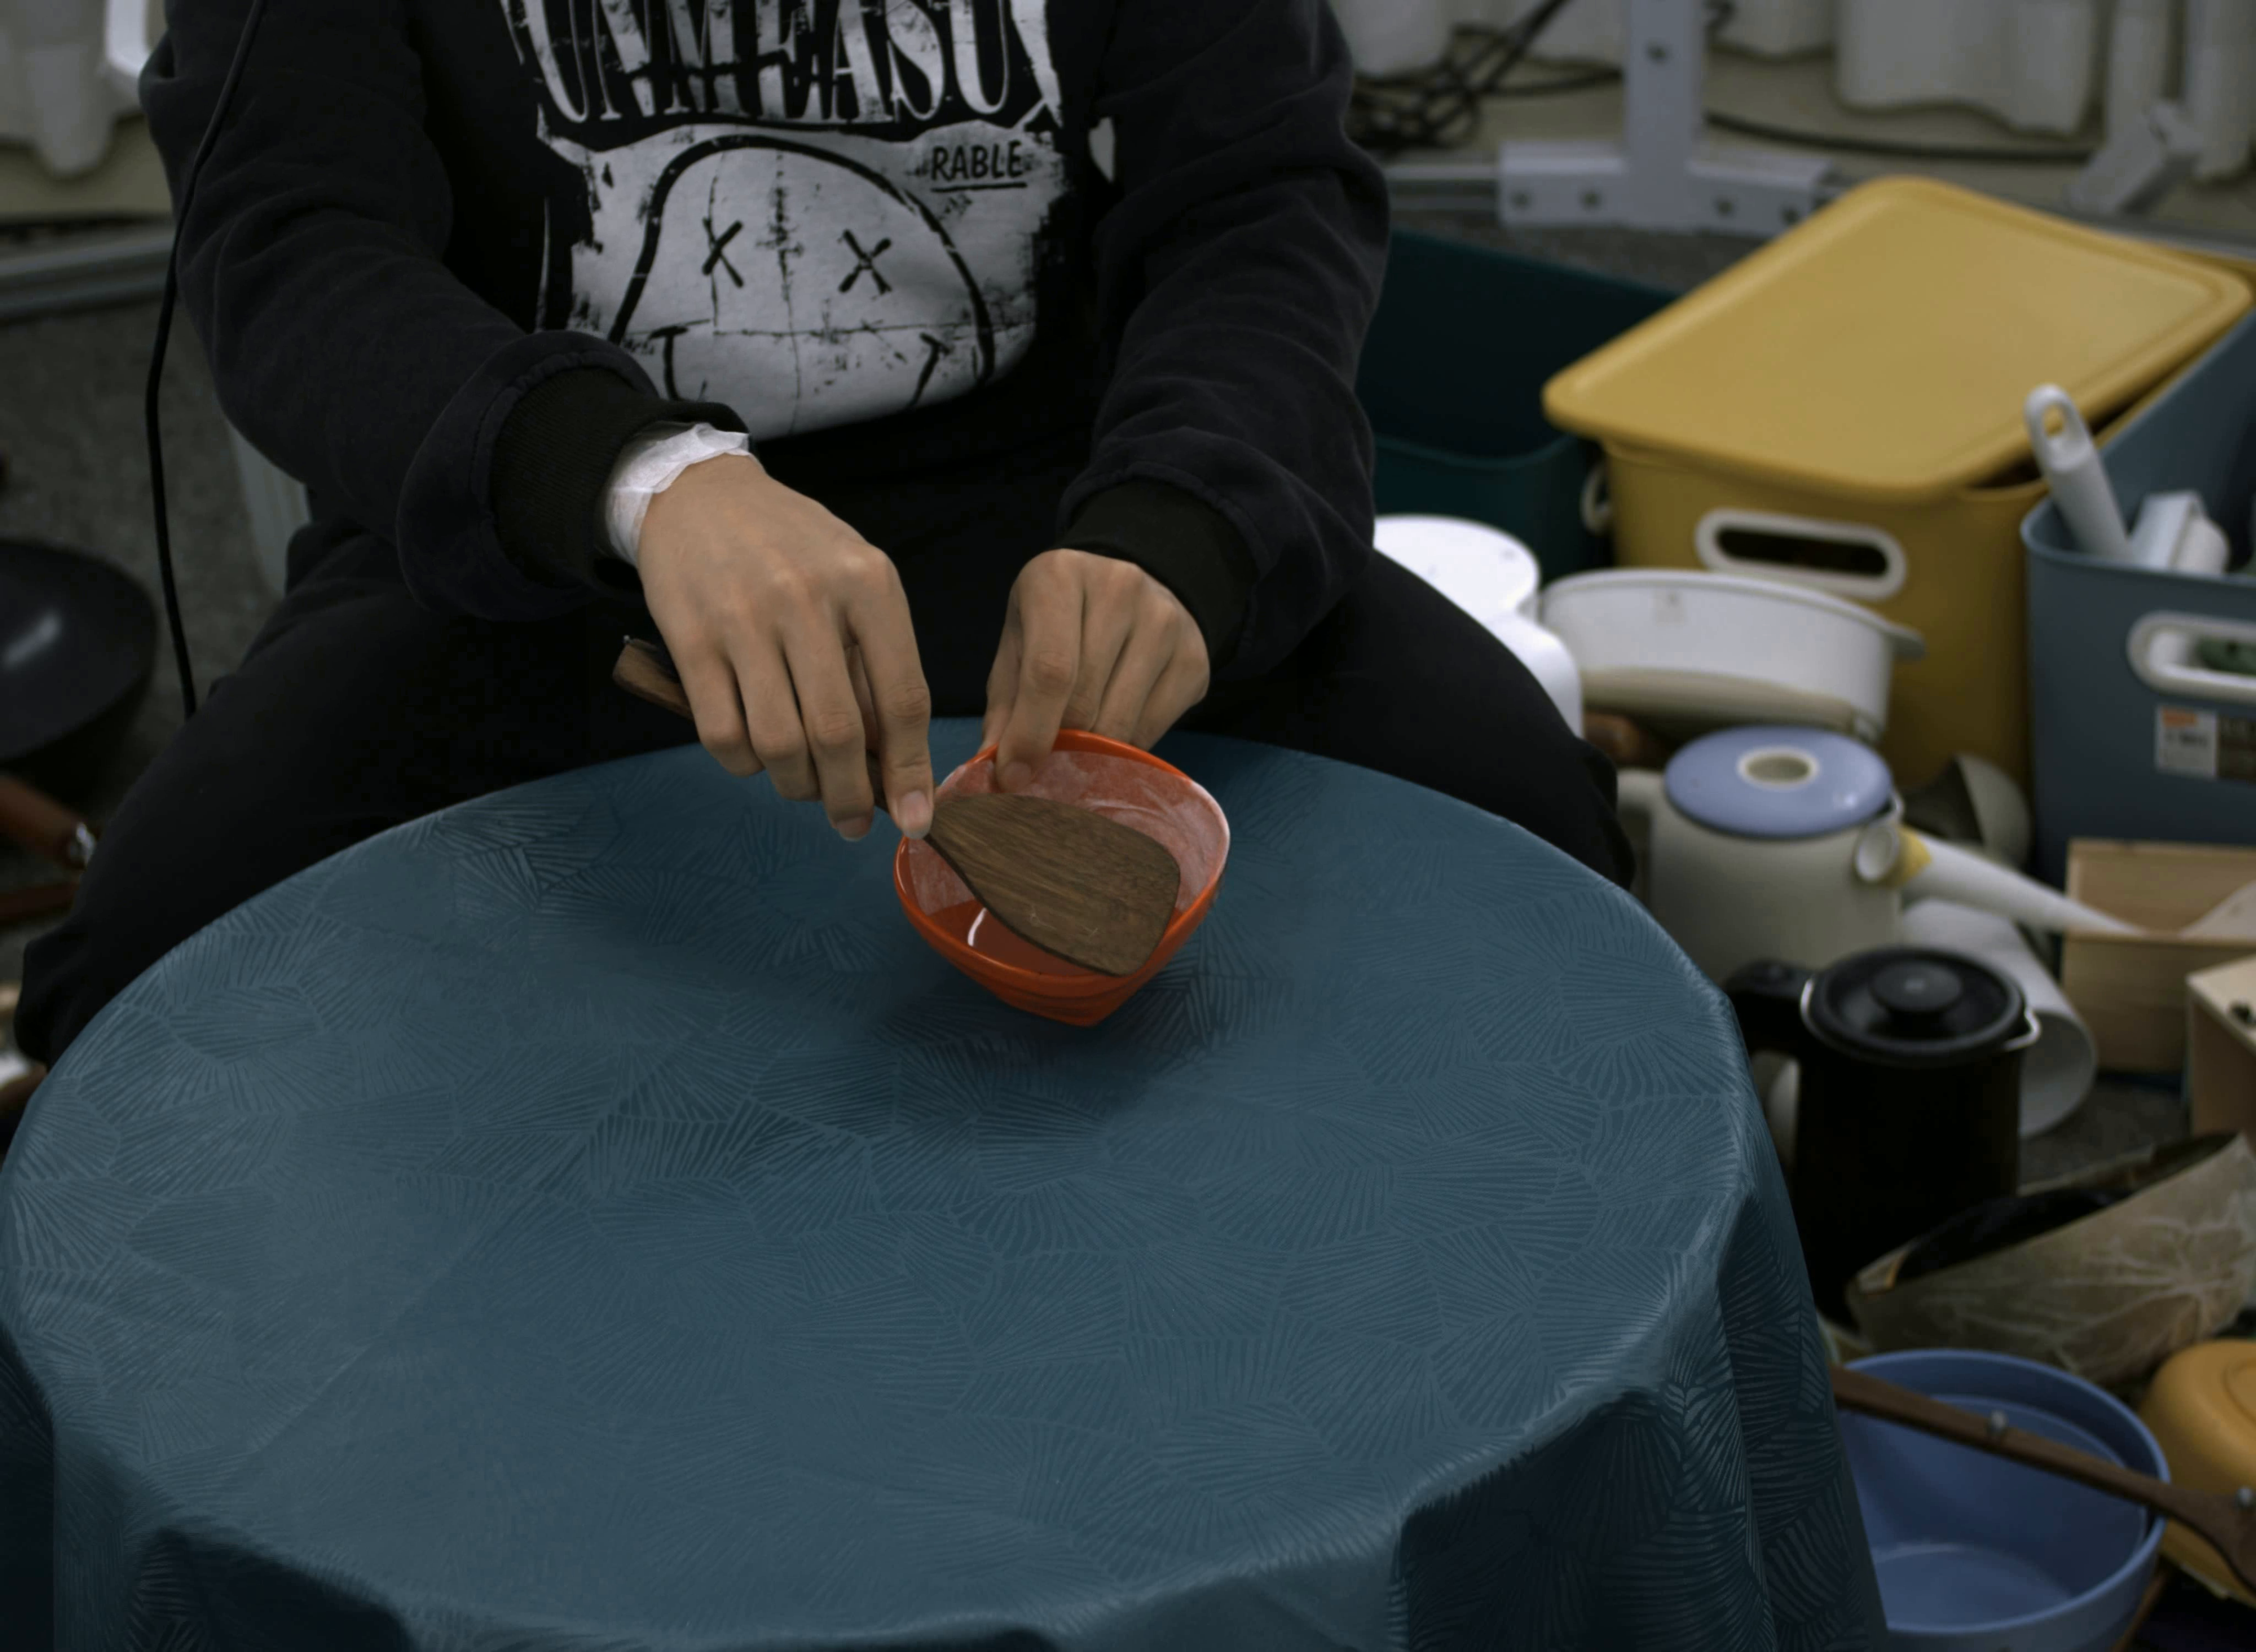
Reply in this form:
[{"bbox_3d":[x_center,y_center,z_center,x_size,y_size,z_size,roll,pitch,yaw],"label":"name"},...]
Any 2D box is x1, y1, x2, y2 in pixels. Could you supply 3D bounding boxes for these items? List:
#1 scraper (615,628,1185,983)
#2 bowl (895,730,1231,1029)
[{"bbox_3d":[-0.080,-0.012,1.927,0.211,0.010,0.077,28,42,-2],"label":"scraper"},{"bbox_3d":[-0.021,0.026,1.971,0.118,0.050,0.121,-2,48,2],"label":"bowl"}]
